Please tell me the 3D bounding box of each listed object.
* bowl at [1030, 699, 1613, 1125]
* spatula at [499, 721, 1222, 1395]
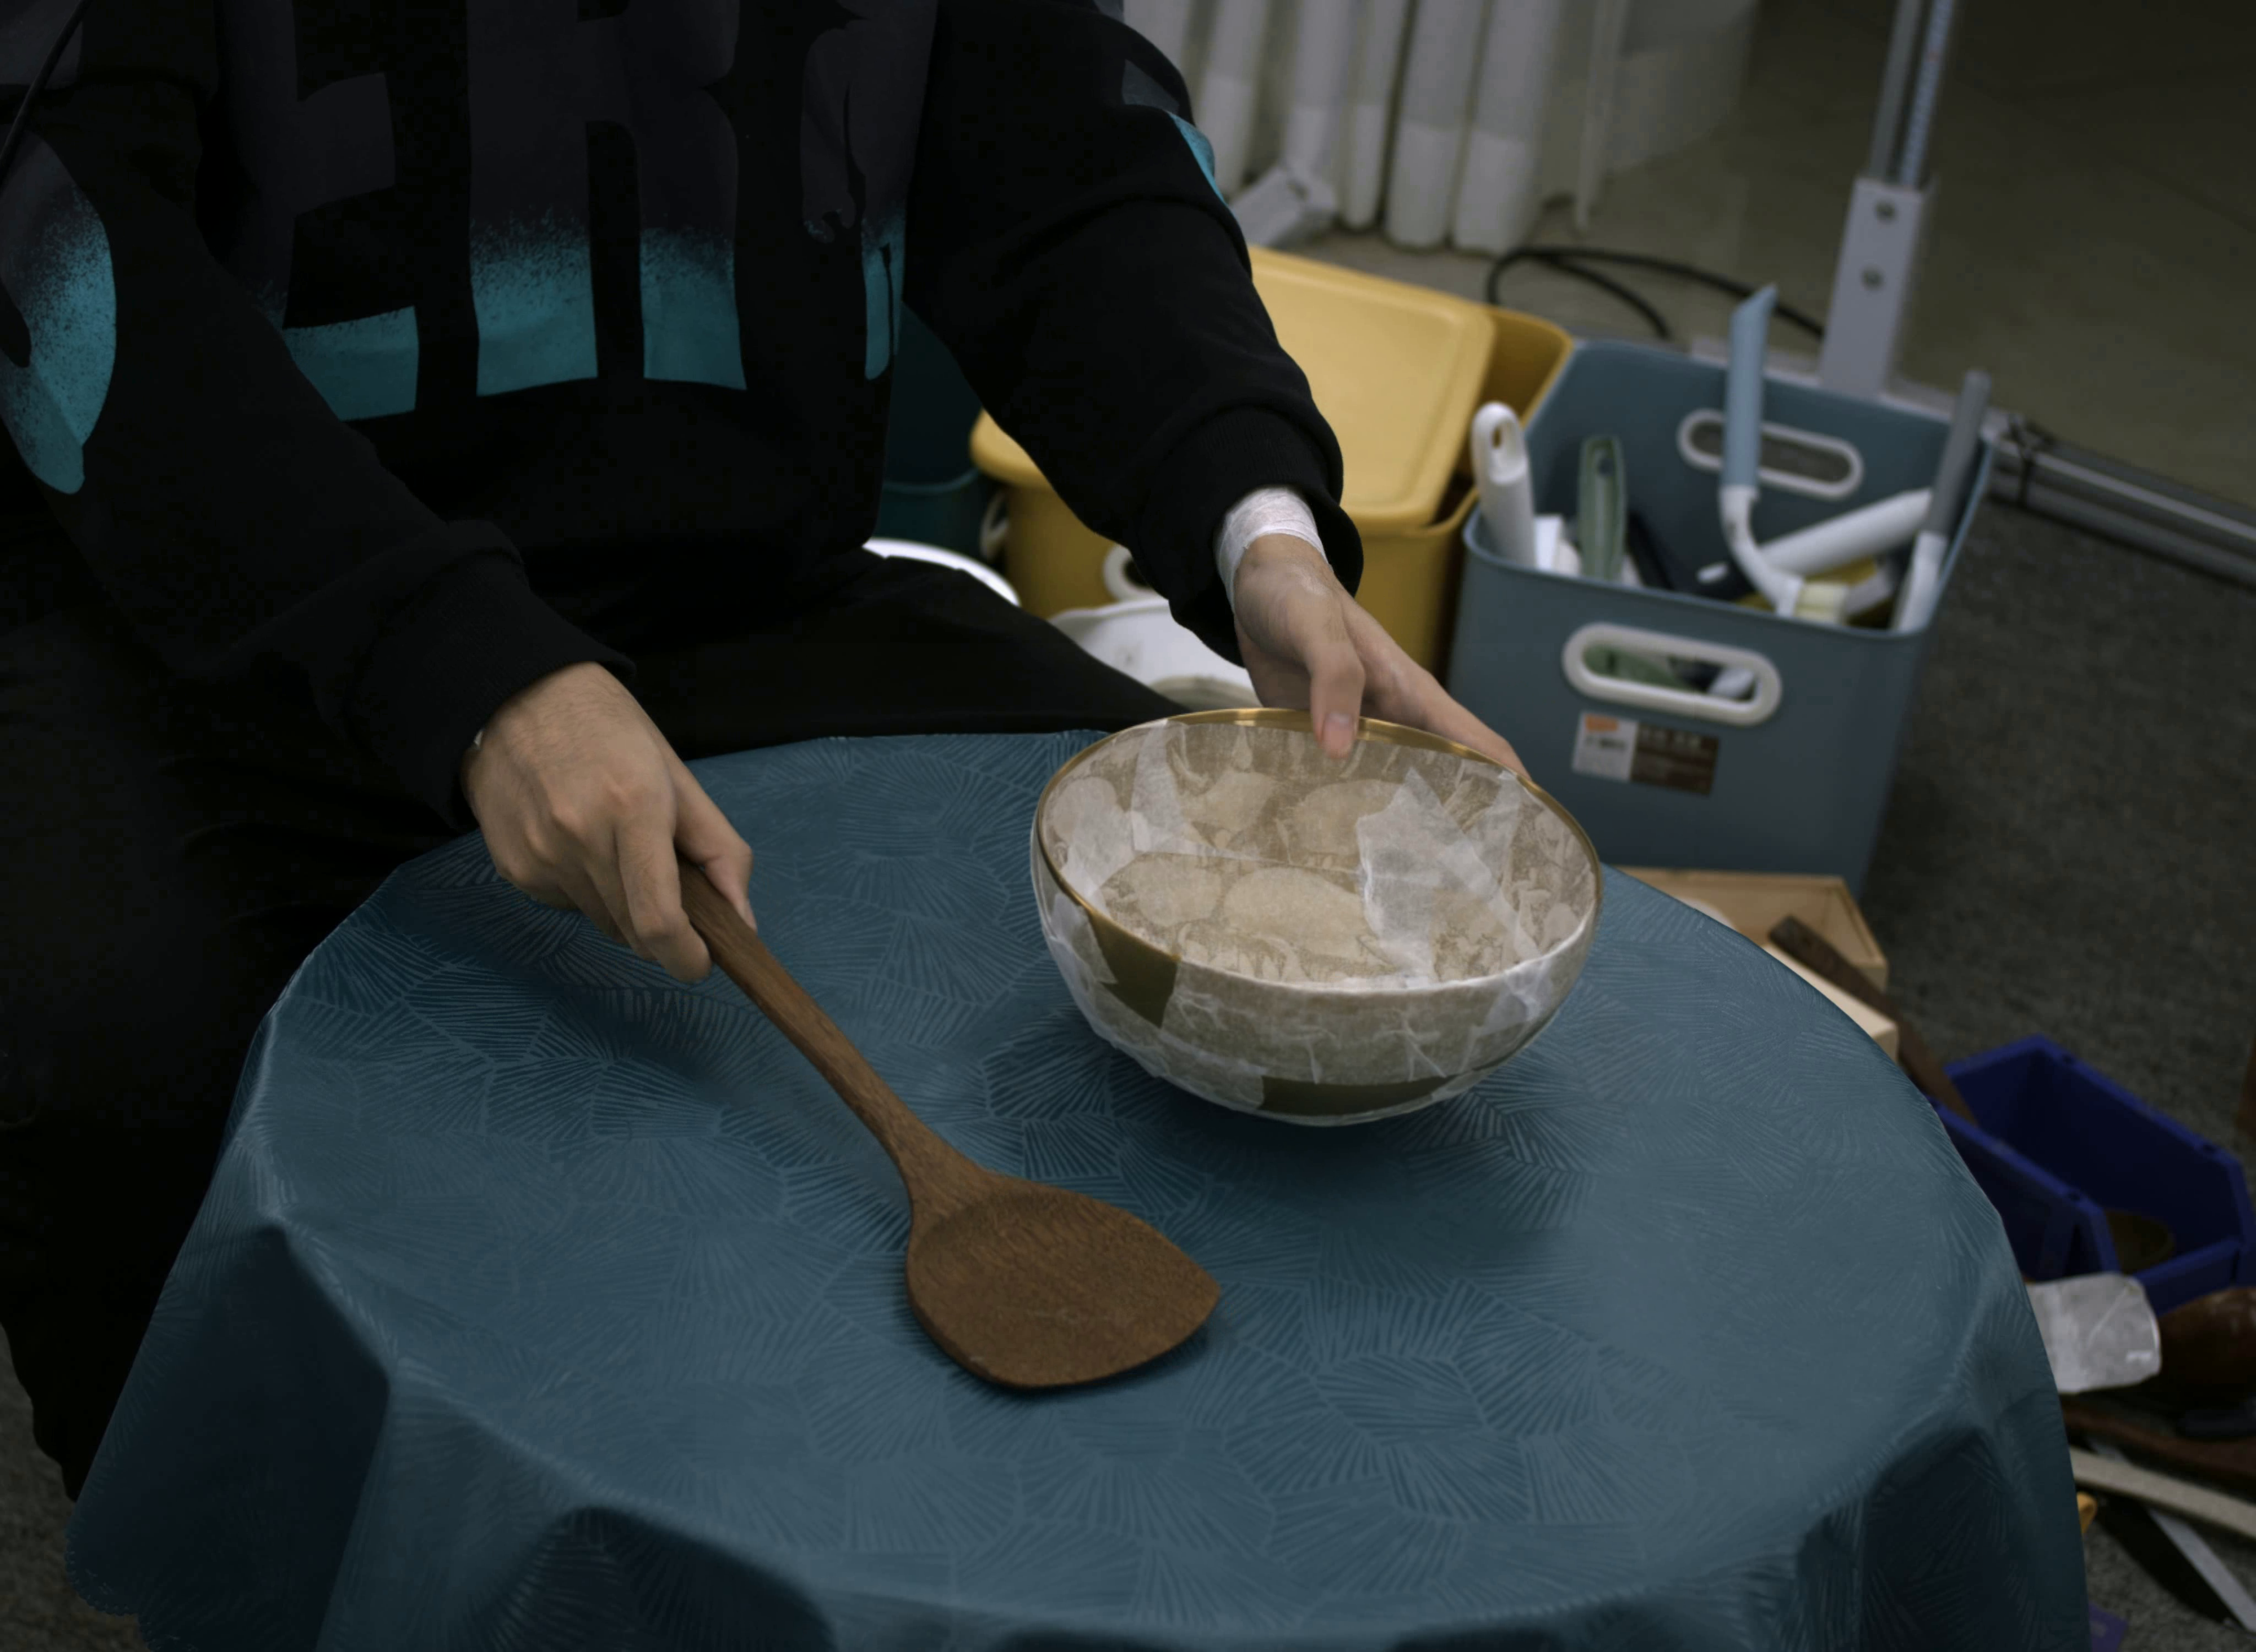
[{"bbox_3d":[0.065,0.043,1.871,0.214,0.094,0.216,3,28,-2],"label":"bowl"},{"bbox_3d":[-0.110,0.069,1.811,0.095,0.016,0.389,-18,45,-33],"label":"spatula"}]
